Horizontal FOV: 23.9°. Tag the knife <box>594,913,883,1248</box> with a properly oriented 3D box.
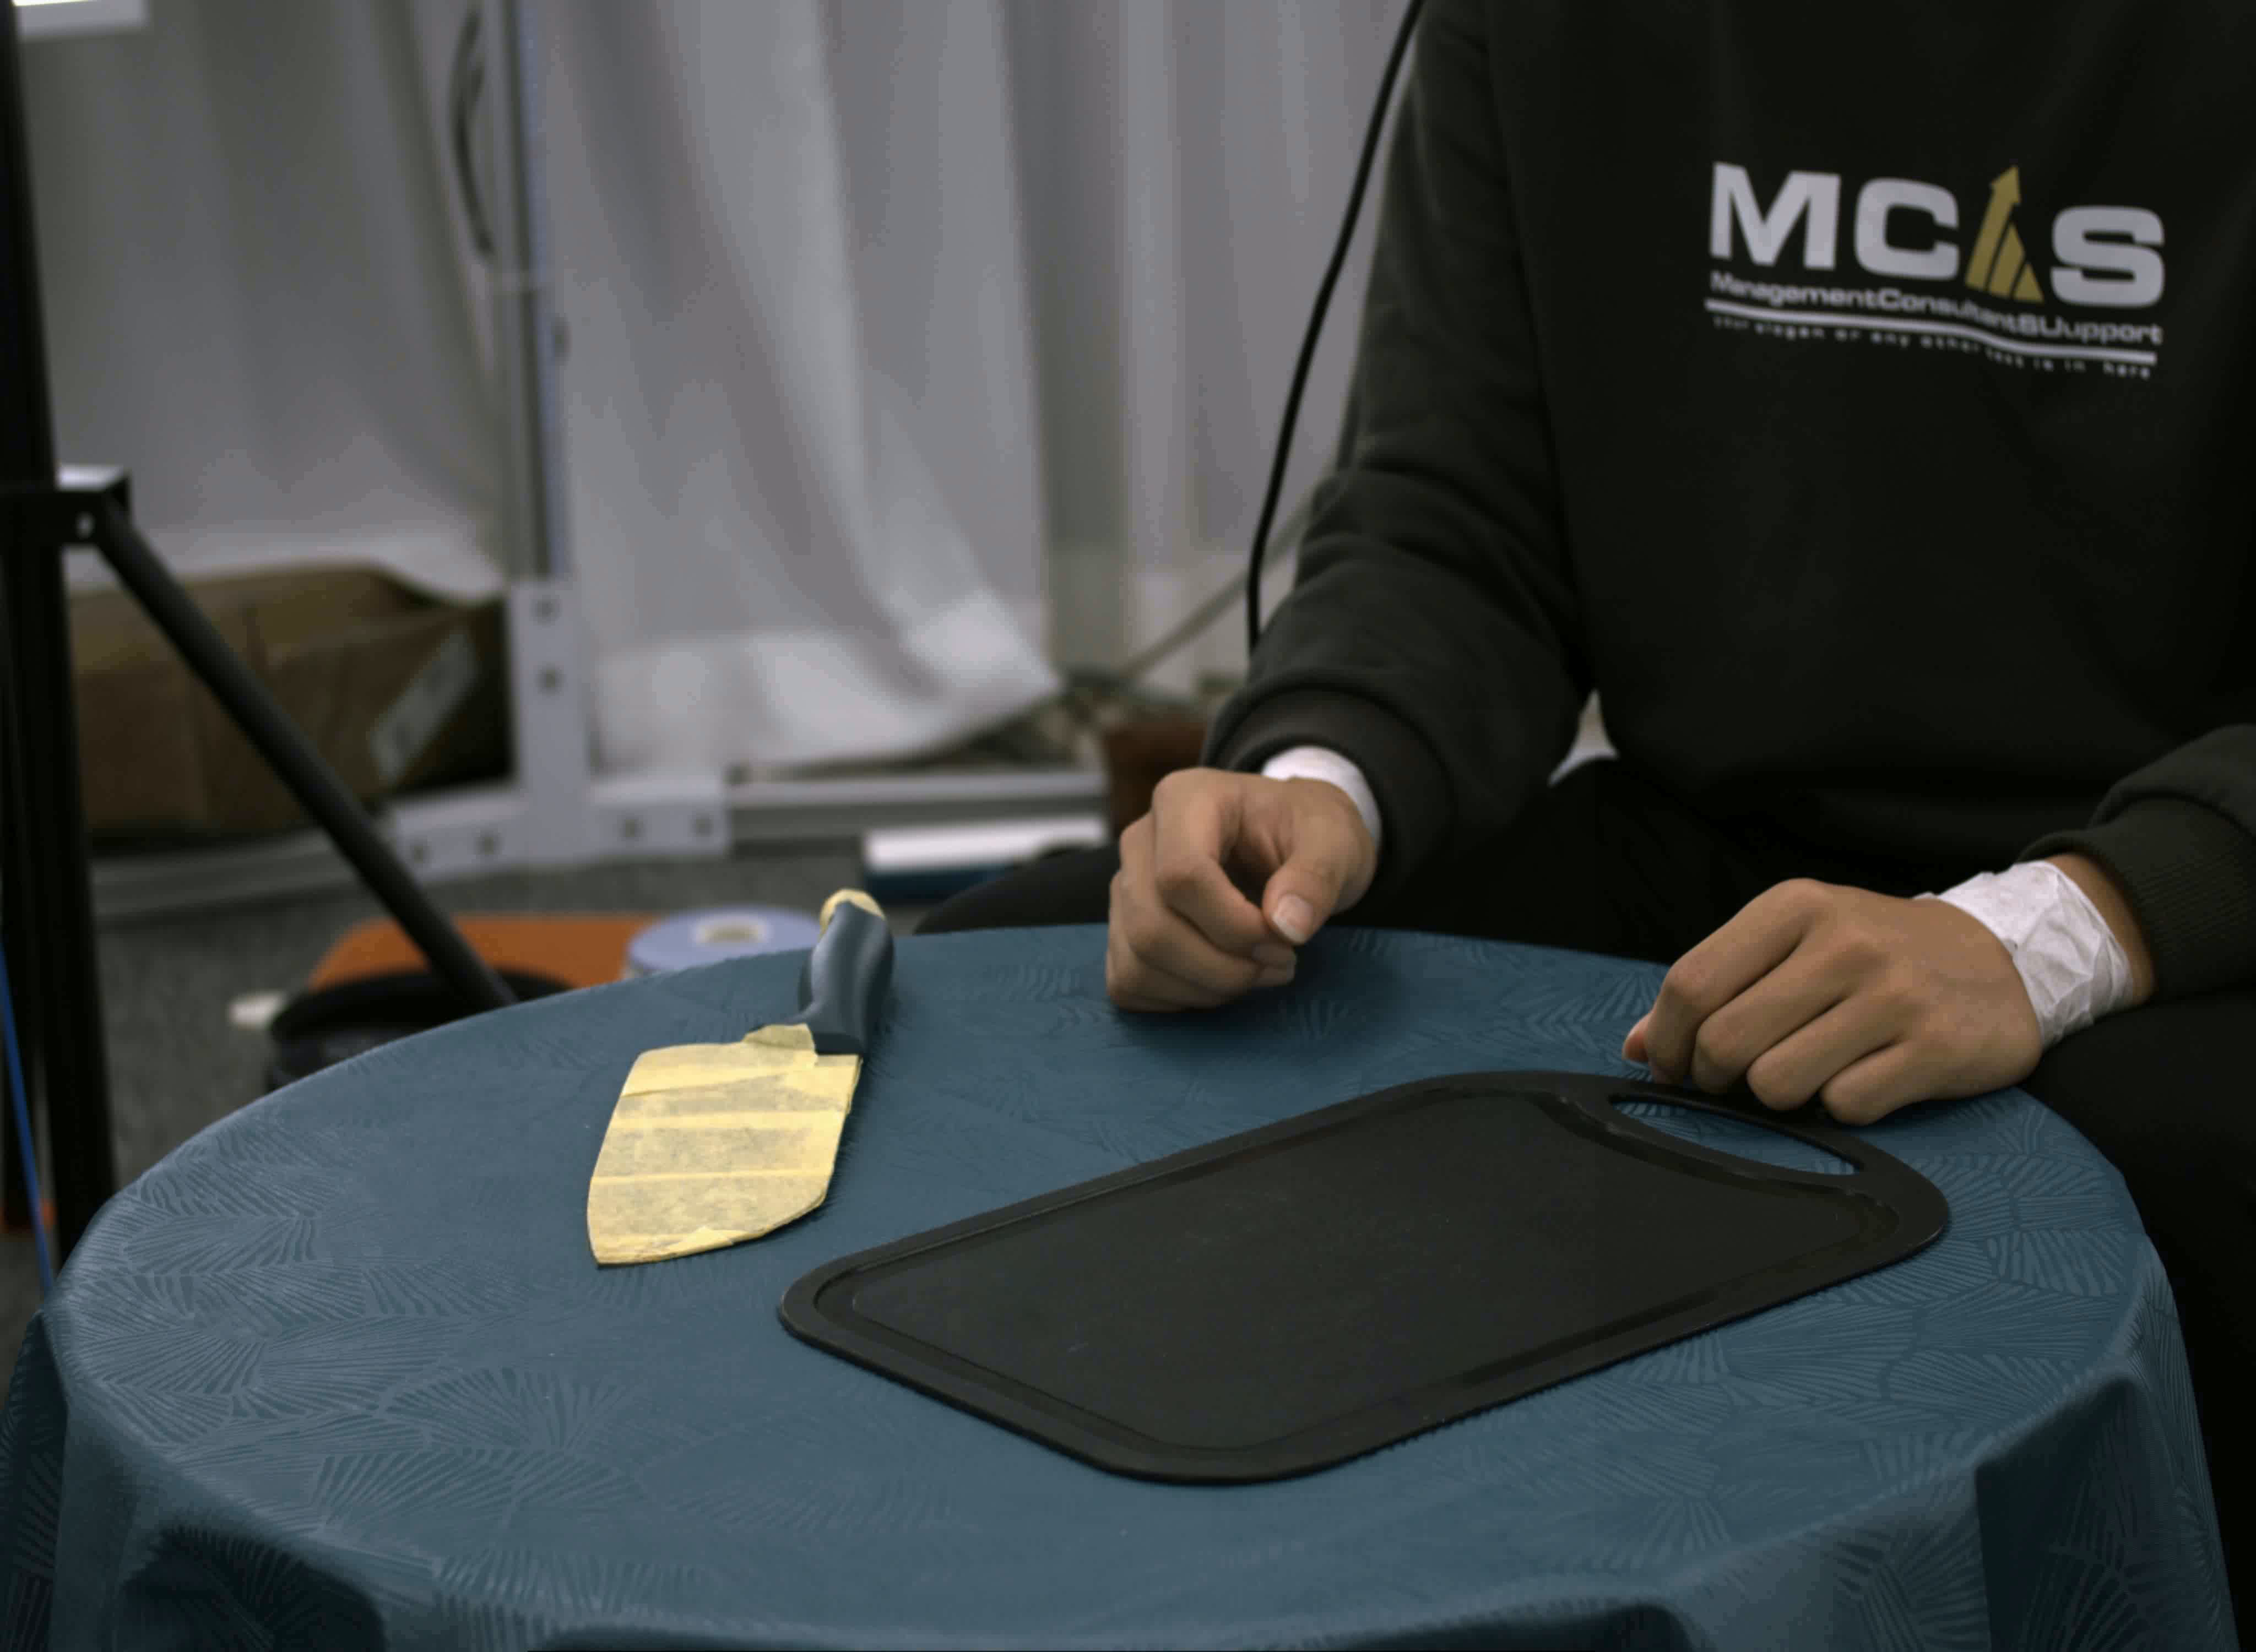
[{"bbox_3d":[-0.118,0.079,1.657,0.081,0.027,0.289,1,17,6],"label":"knife"}]

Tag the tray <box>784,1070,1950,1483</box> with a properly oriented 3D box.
[{"bbox_3d":[0.076,0.119,1.499,0.318,0.010,0.216,-14,19,-36],"label":"tray"}]
